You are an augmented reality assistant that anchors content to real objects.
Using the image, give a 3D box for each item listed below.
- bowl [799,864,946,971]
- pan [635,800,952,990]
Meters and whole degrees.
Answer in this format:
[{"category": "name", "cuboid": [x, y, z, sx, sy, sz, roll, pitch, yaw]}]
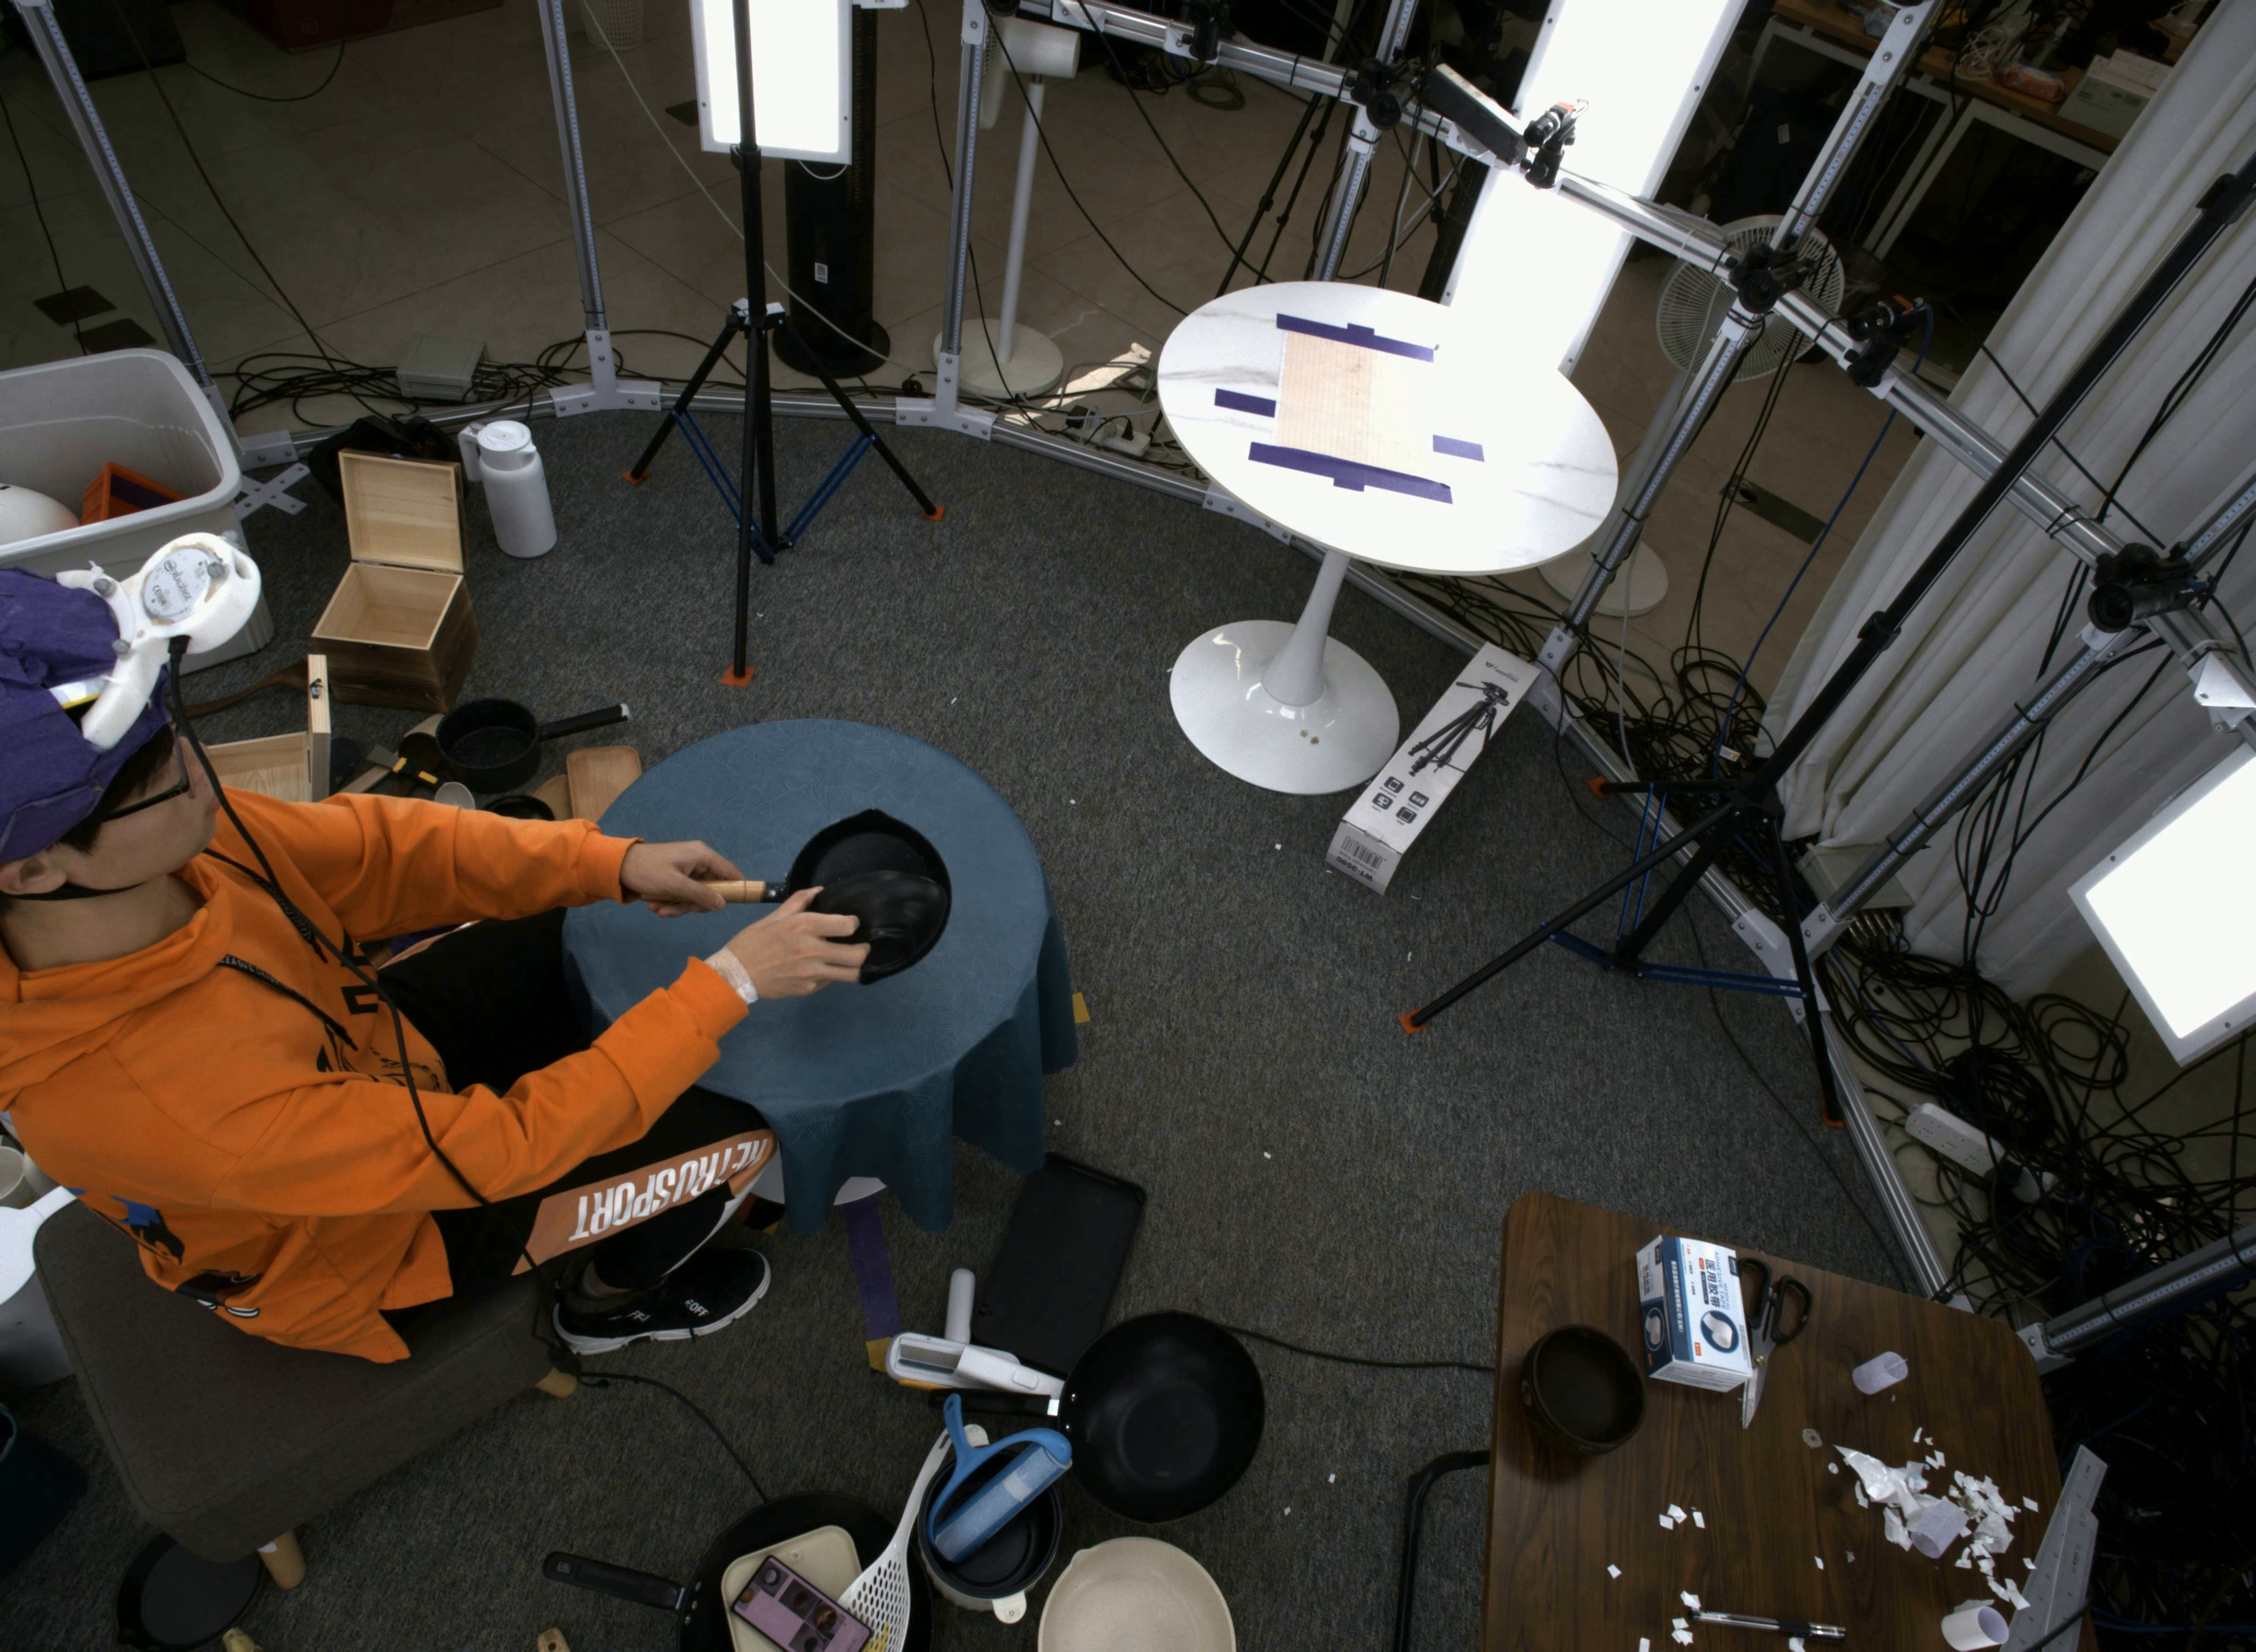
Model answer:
[{"category": "bowl", "cuboid": [-0.268, 0.108, 1.380, 0.168, 0.142, 0.065, -25, 52, 12]}, {"category": "pan", "cuboid": [-0.370, 0.074, 1.453, 0.343, 0.106, 0.210, 1, 92, -13]}]
